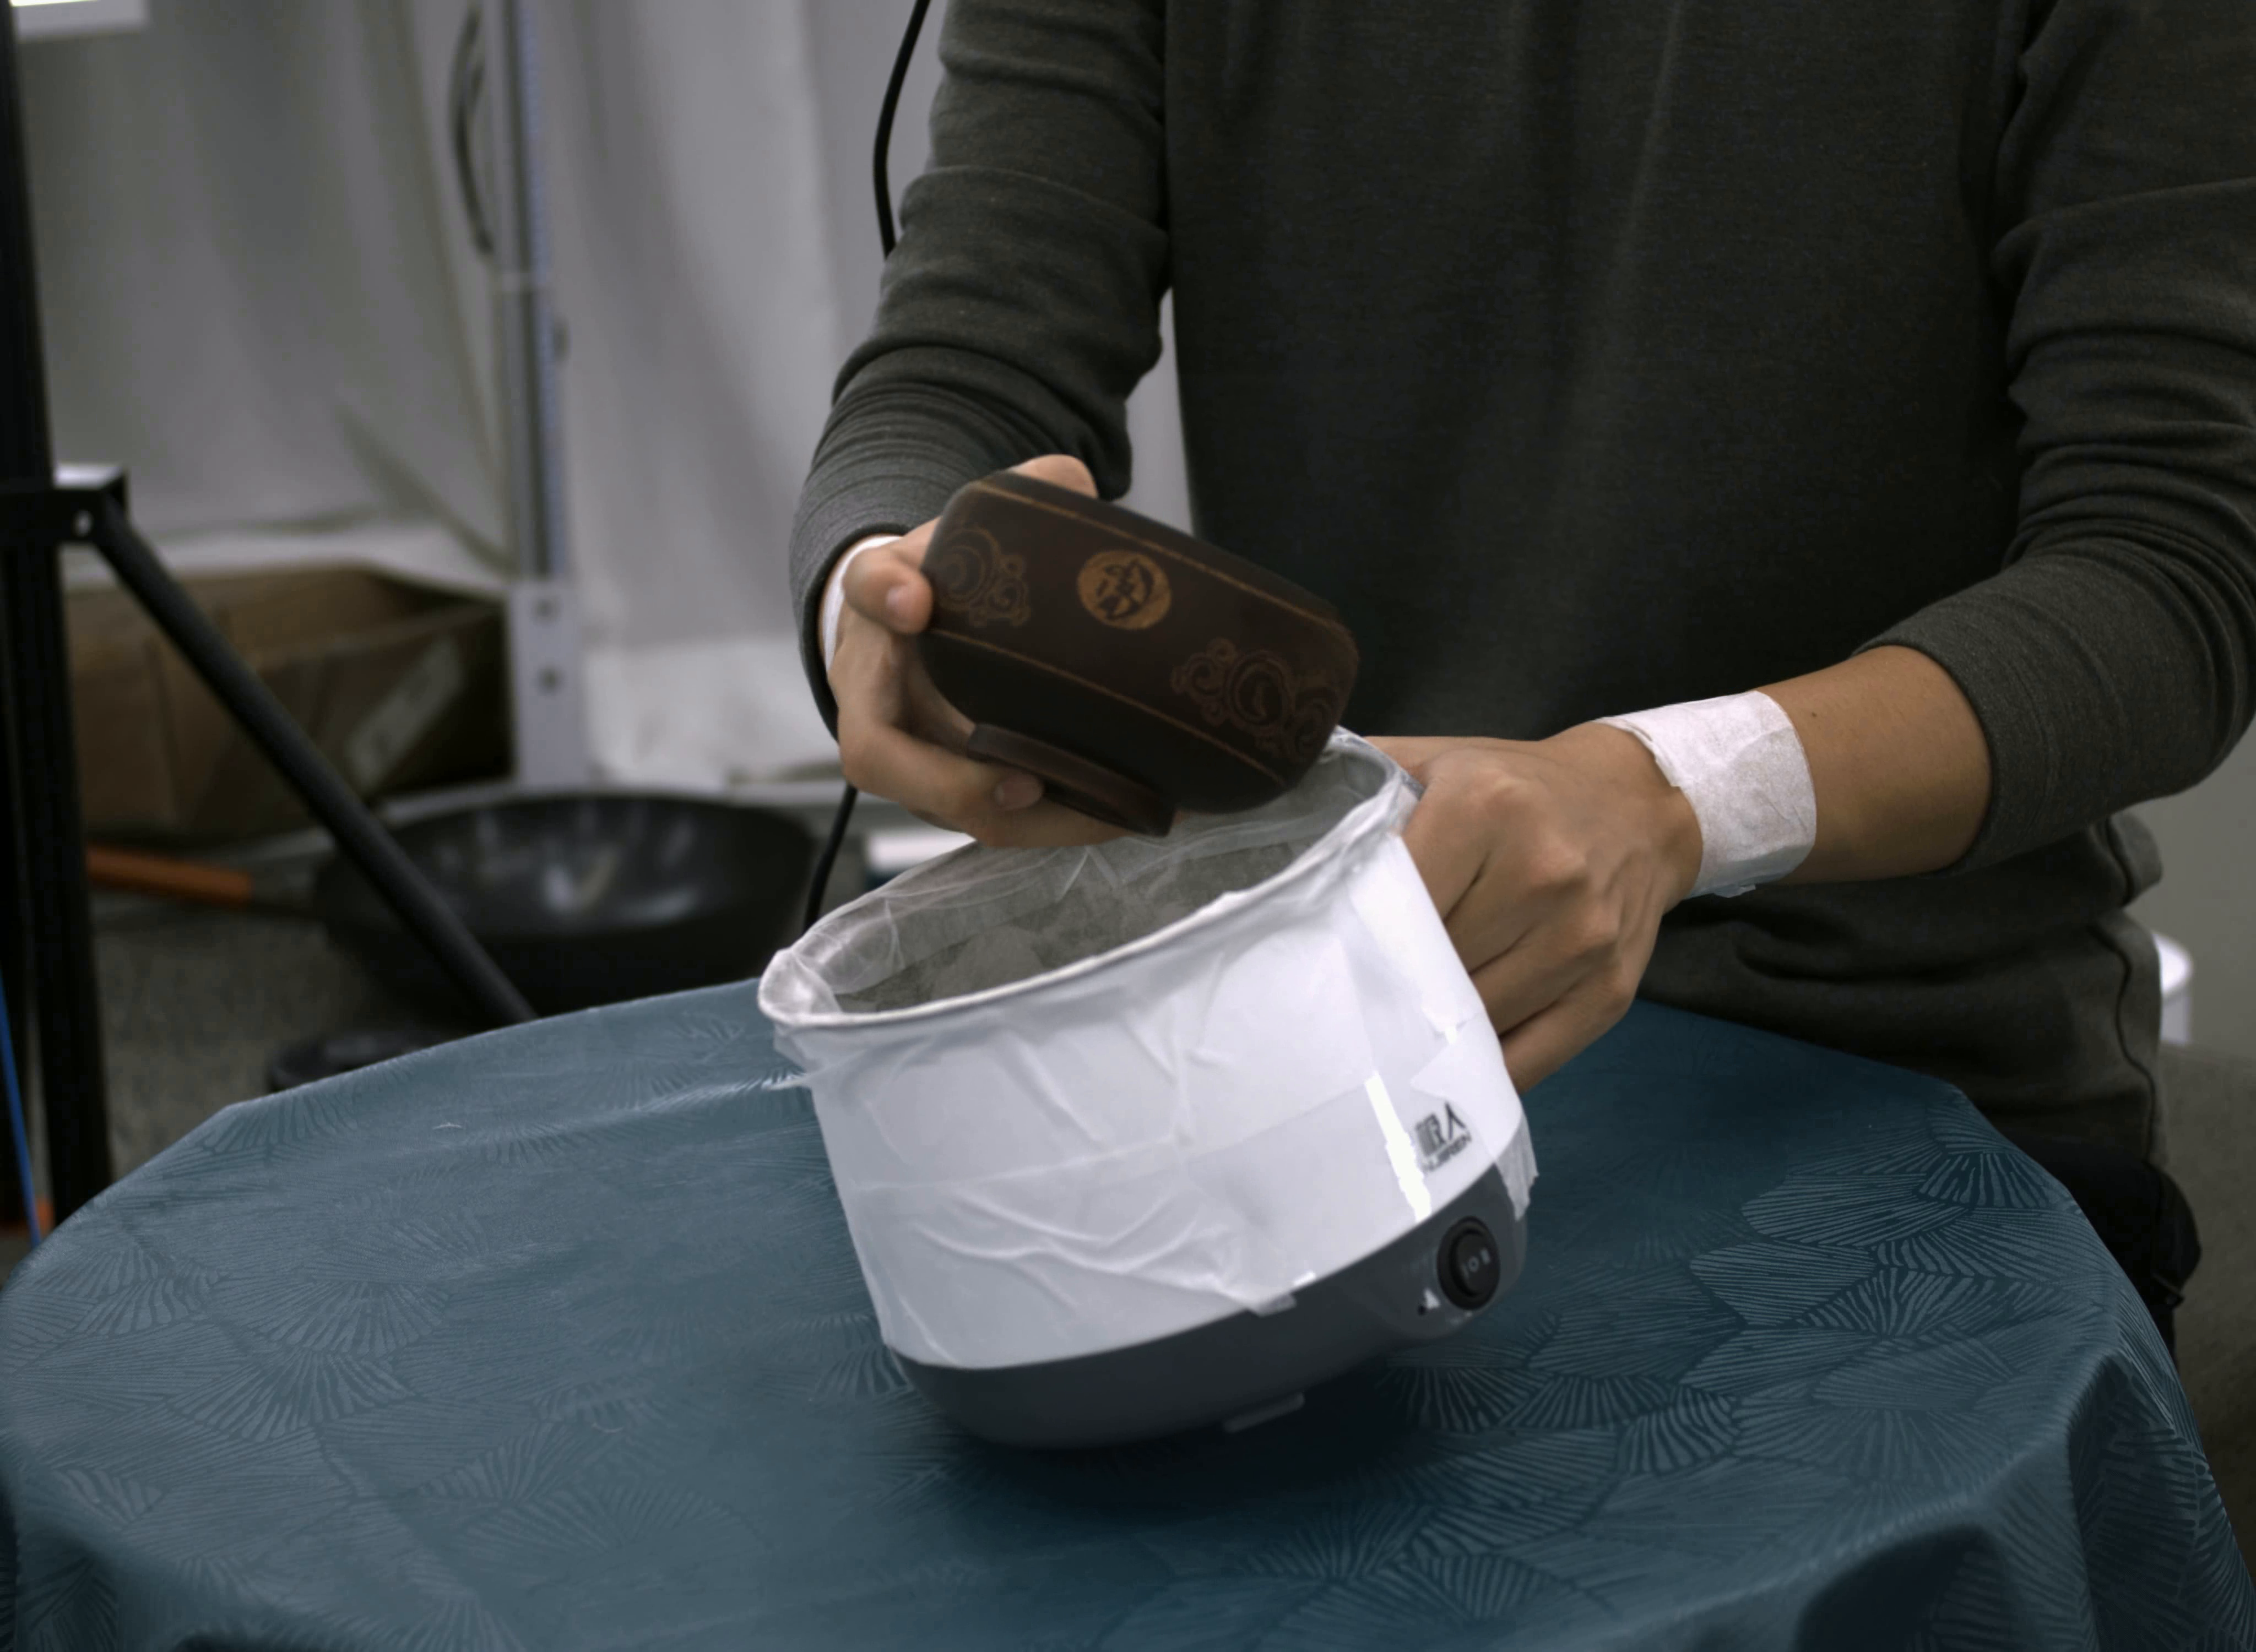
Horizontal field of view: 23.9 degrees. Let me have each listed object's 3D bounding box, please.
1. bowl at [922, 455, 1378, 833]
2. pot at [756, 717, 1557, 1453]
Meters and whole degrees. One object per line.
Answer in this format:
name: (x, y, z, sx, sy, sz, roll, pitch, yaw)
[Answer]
bowl: (-0.001, -0.041, 1.381, 0.118, 0.070, 0.118, 24, -7, 2)
pot: (0.025, 0.060, 1.392, 0.182, 0.136, 0.230, -7, 19, 44)
